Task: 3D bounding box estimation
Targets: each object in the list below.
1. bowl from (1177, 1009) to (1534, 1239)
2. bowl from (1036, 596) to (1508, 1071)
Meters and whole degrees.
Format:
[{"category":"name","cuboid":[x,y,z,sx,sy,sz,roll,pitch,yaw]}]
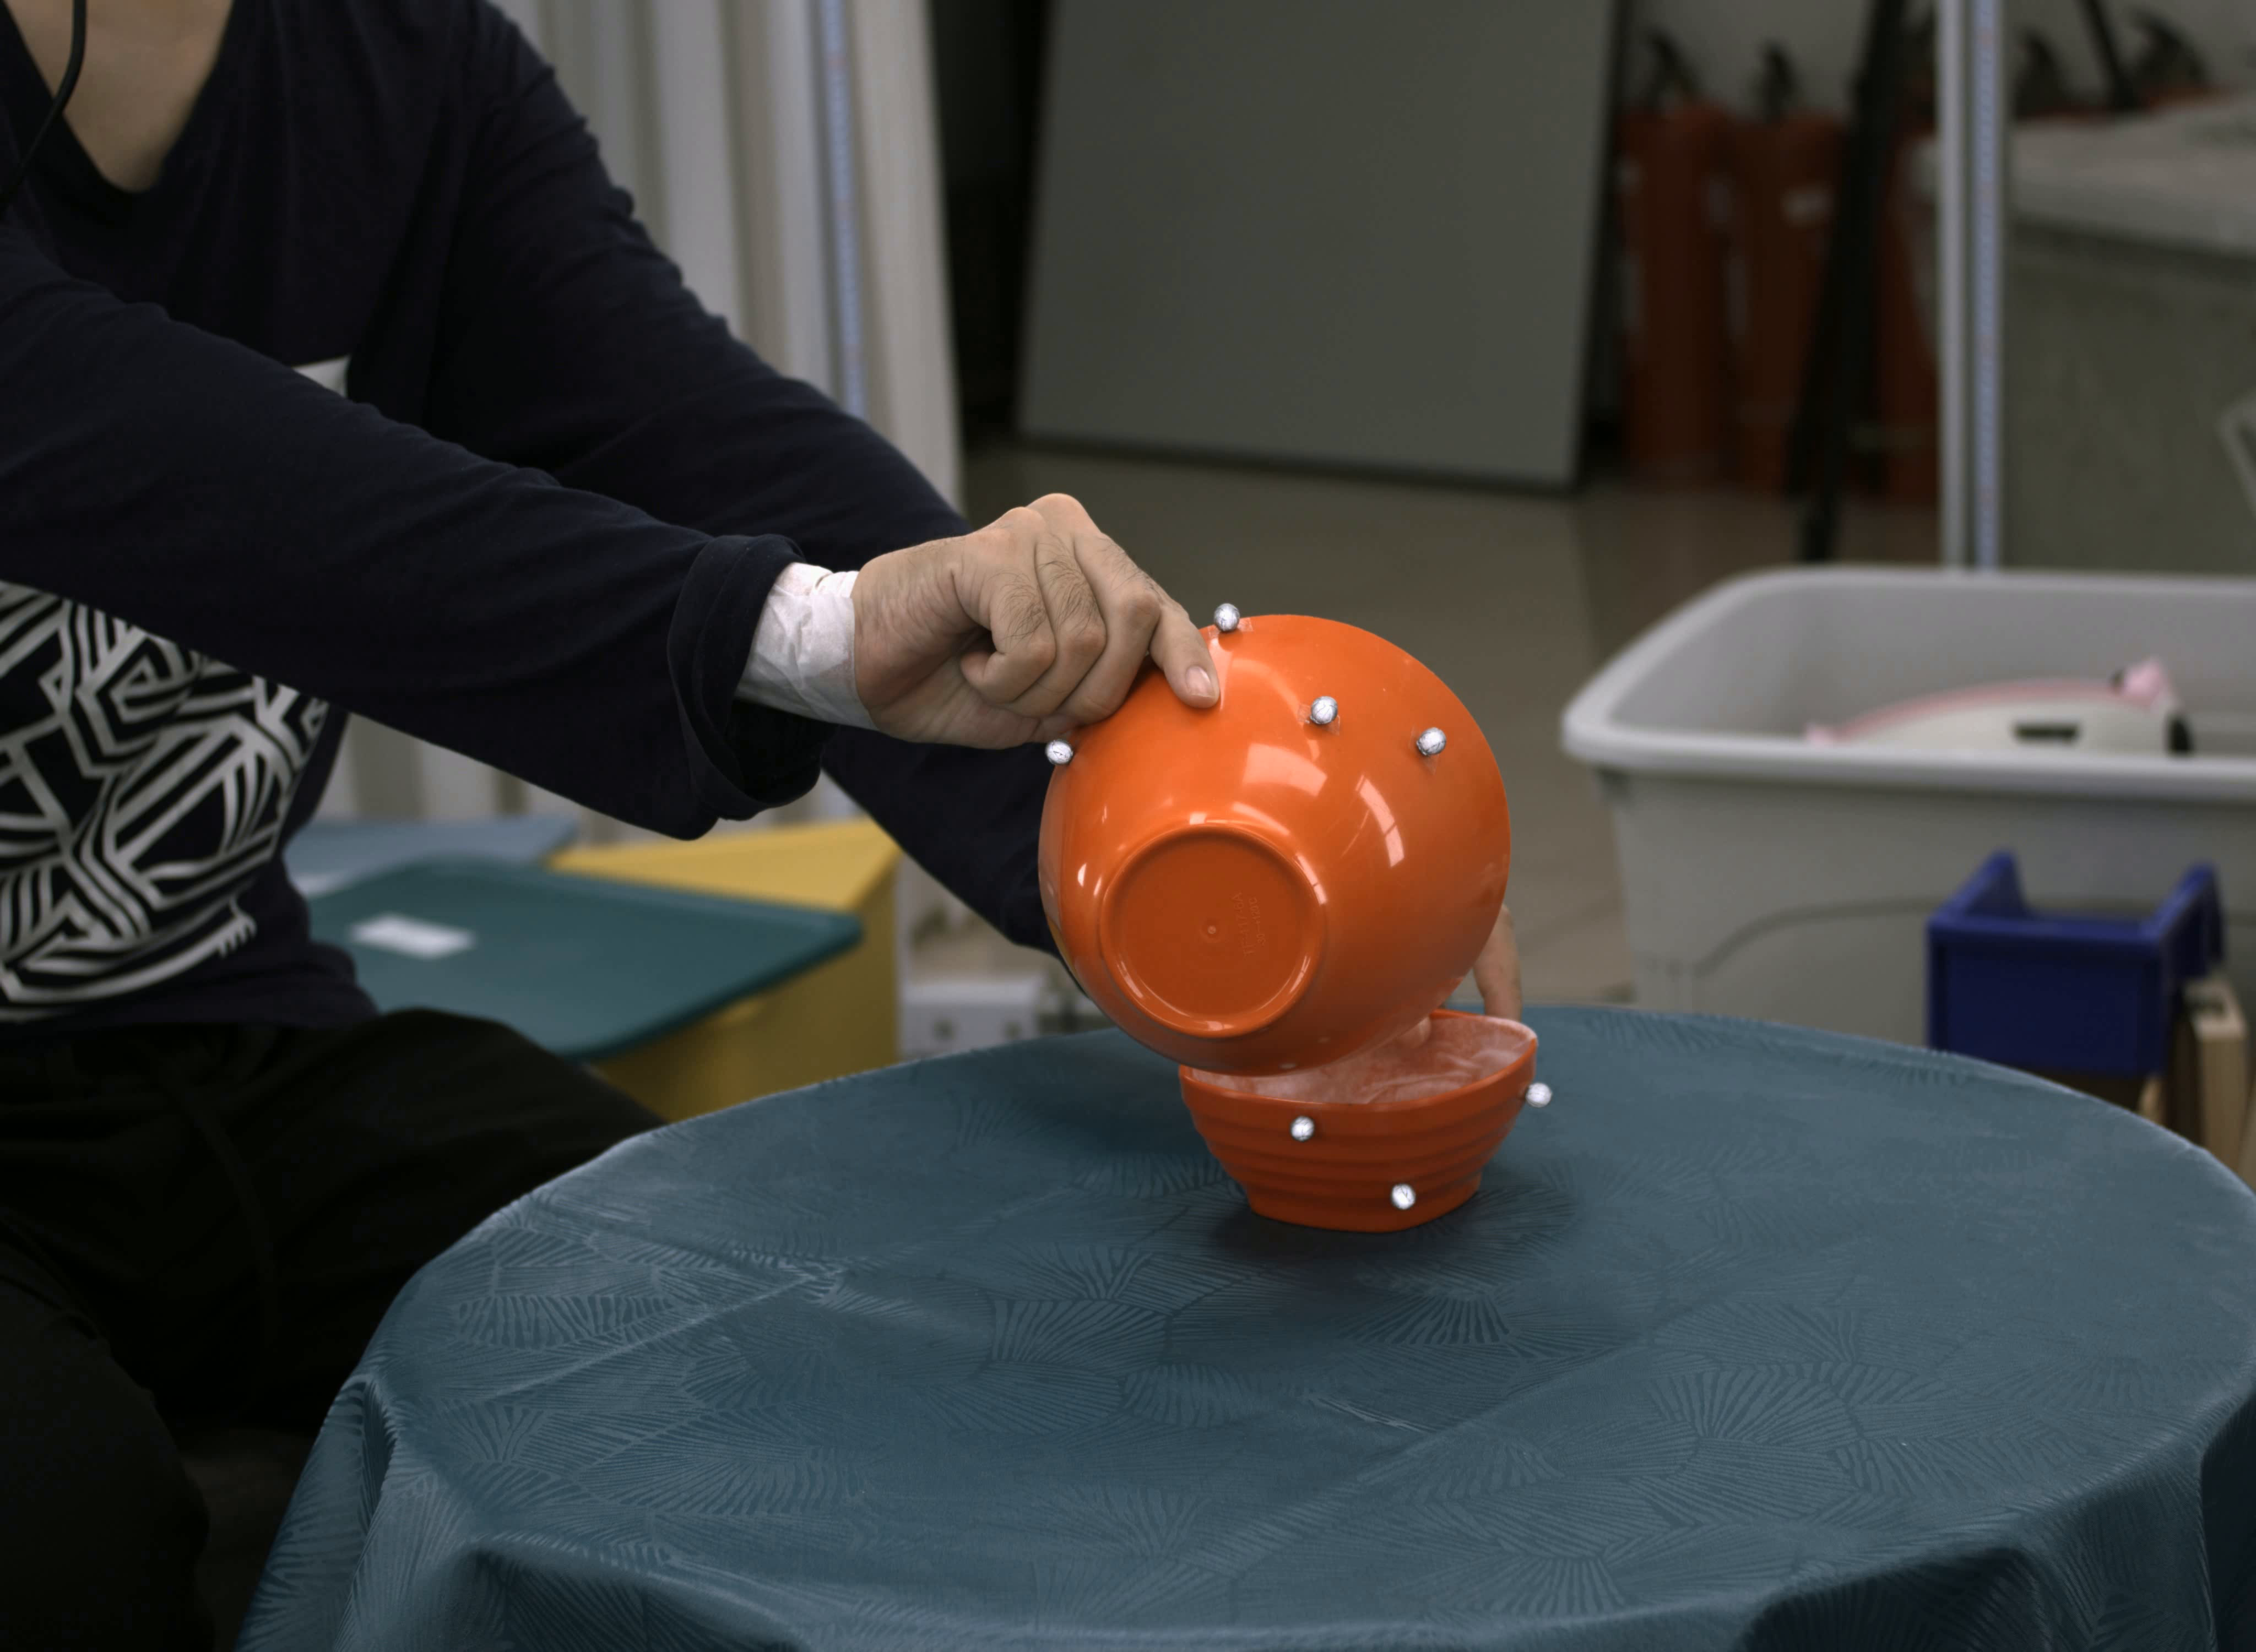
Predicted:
[{"category":"bowl","cuboid":[0.076,0.098,1.745,0.117,0.052,0.119,-6,13,1]},{"category":"bowl","cuboid":[0.040,0.013,1.635,0.147,0.149,0.104,-2,14,8]}]
